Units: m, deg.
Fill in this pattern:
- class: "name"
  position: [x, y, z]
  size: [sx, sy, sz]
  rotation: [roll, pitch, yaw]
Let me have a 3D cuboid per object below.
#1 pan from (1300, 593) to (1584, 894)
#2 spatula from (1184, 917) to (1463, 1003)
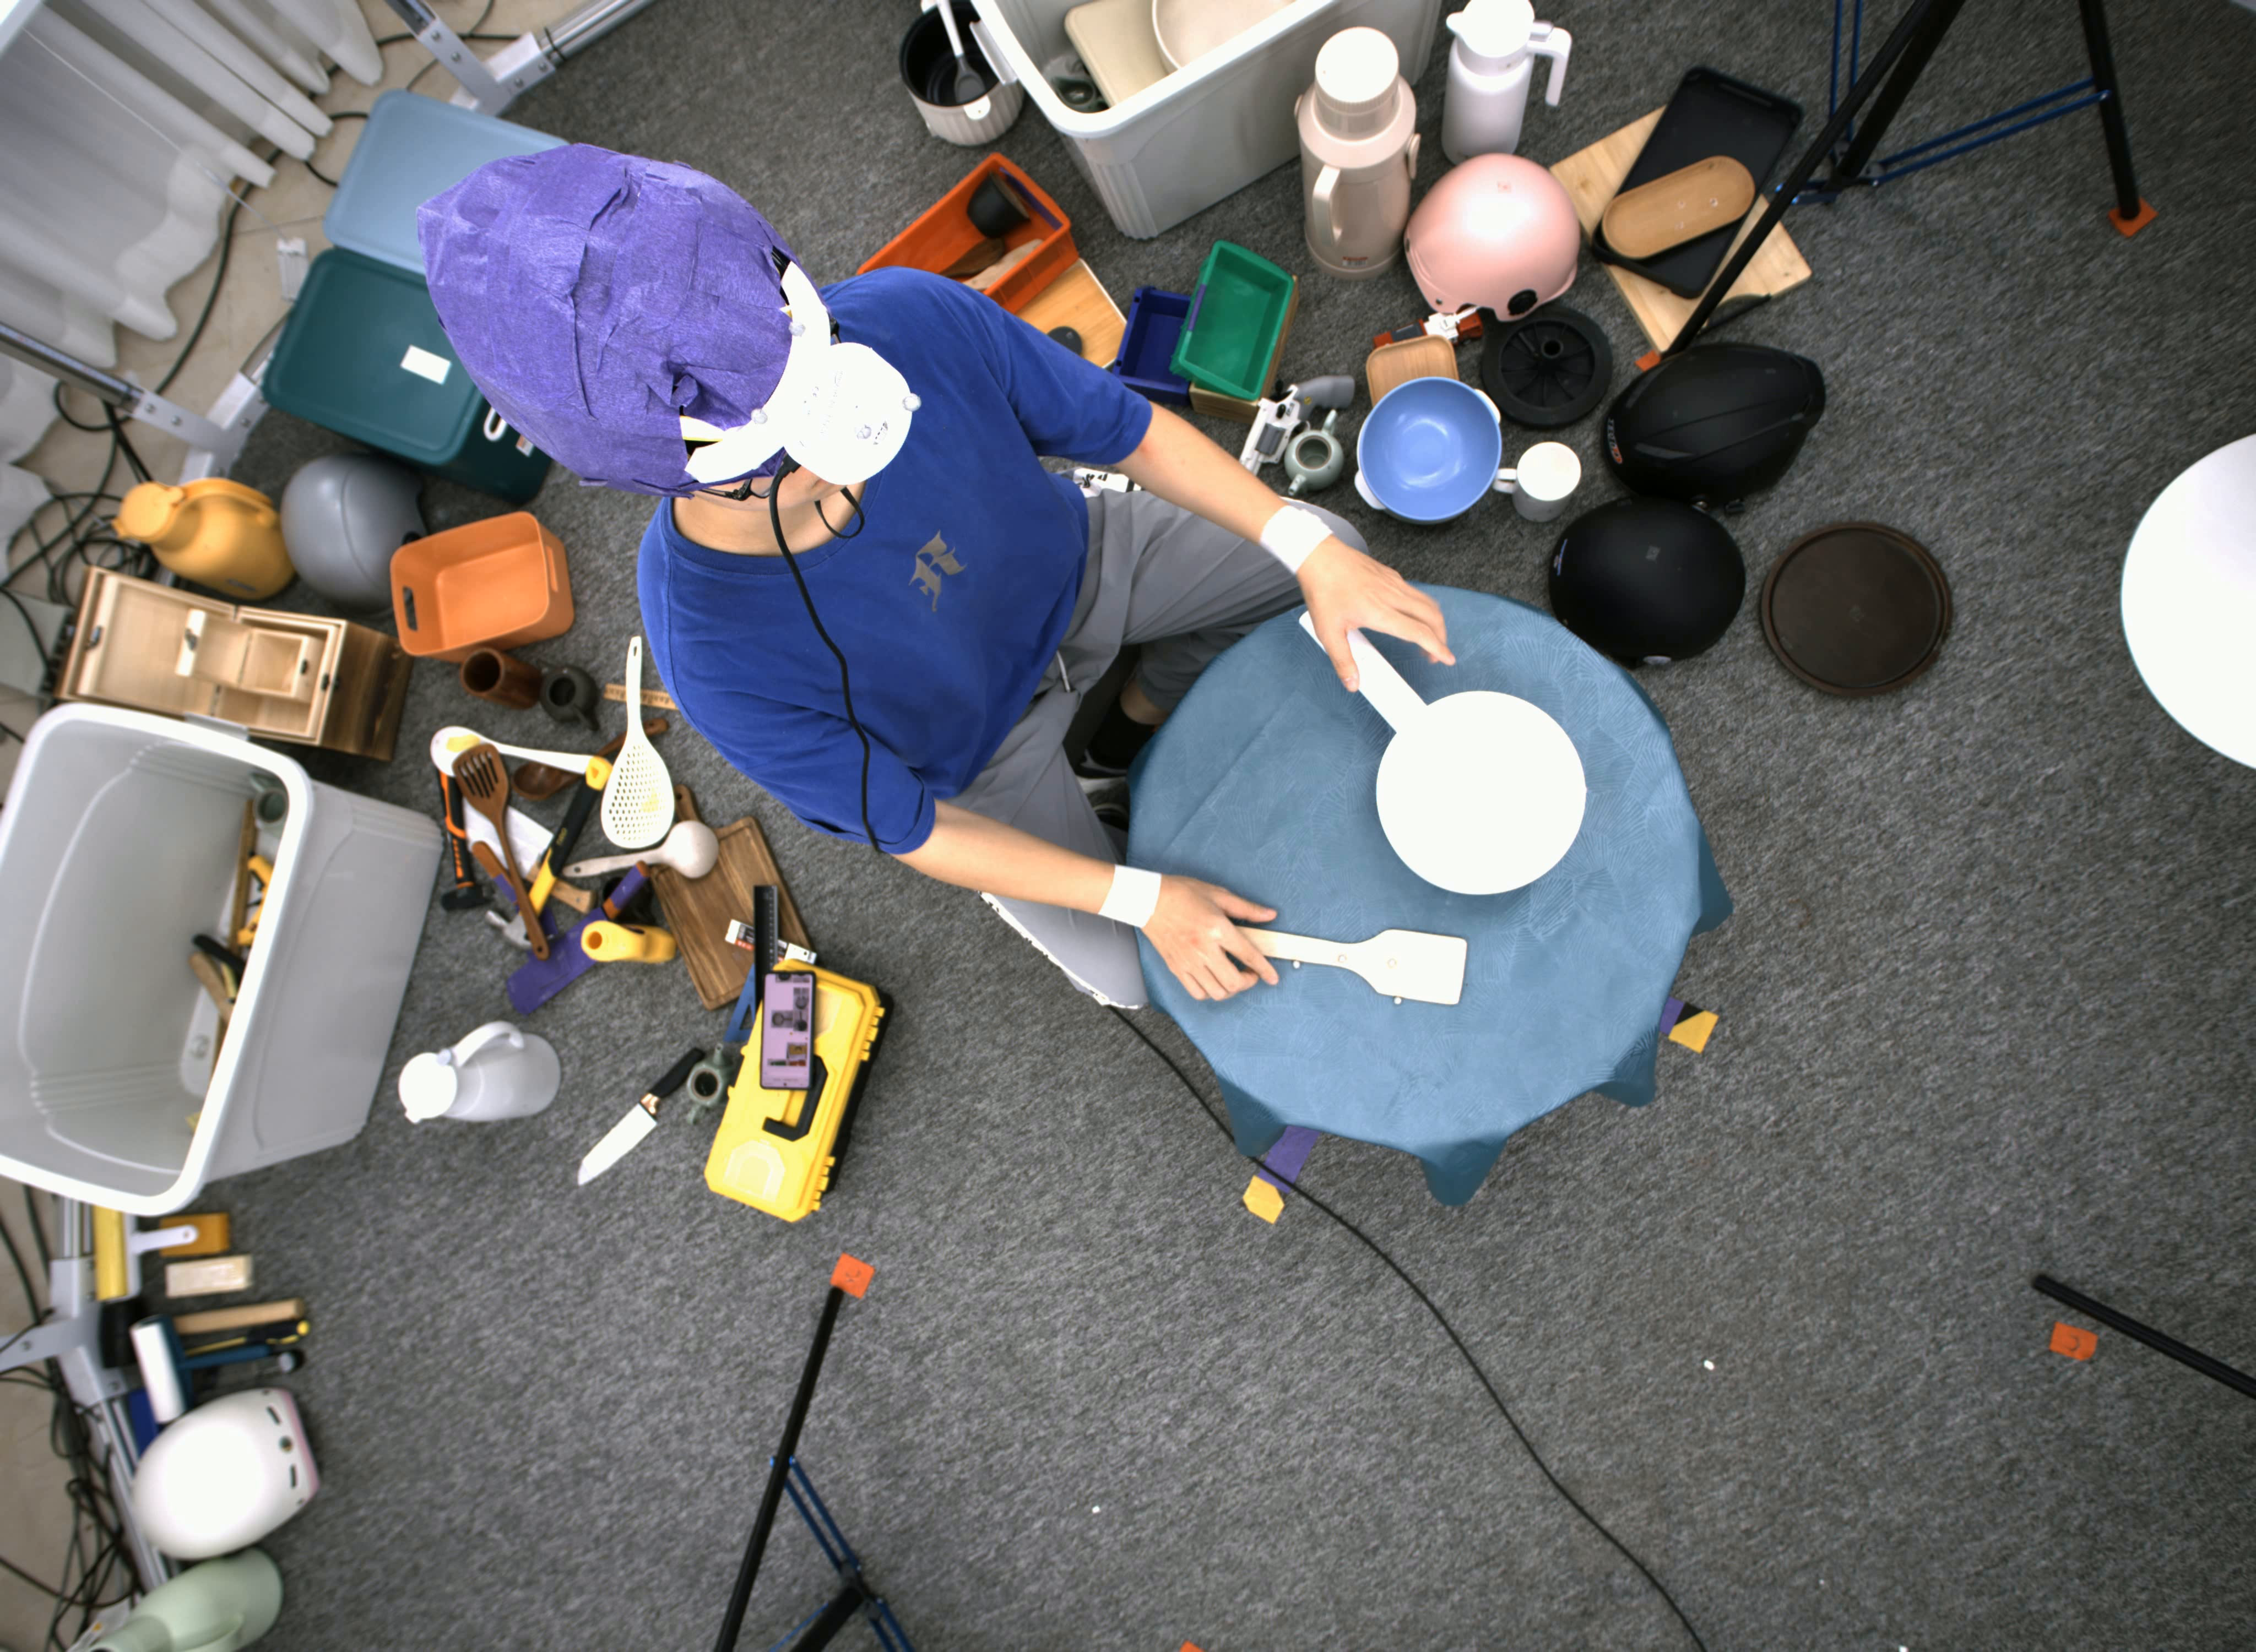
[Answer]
- class: "pan"
  position: [0.306, -0.089, 1.410]
  size: [0.202, 0.102, 0.353]
  rotation: [-41, 81, 8]
- class: "spatula"
  position: [0.202, 0.131, 1.463]
  size: [0.294, 0.010, 0.072]
  rotation: [8, 89, 11]
